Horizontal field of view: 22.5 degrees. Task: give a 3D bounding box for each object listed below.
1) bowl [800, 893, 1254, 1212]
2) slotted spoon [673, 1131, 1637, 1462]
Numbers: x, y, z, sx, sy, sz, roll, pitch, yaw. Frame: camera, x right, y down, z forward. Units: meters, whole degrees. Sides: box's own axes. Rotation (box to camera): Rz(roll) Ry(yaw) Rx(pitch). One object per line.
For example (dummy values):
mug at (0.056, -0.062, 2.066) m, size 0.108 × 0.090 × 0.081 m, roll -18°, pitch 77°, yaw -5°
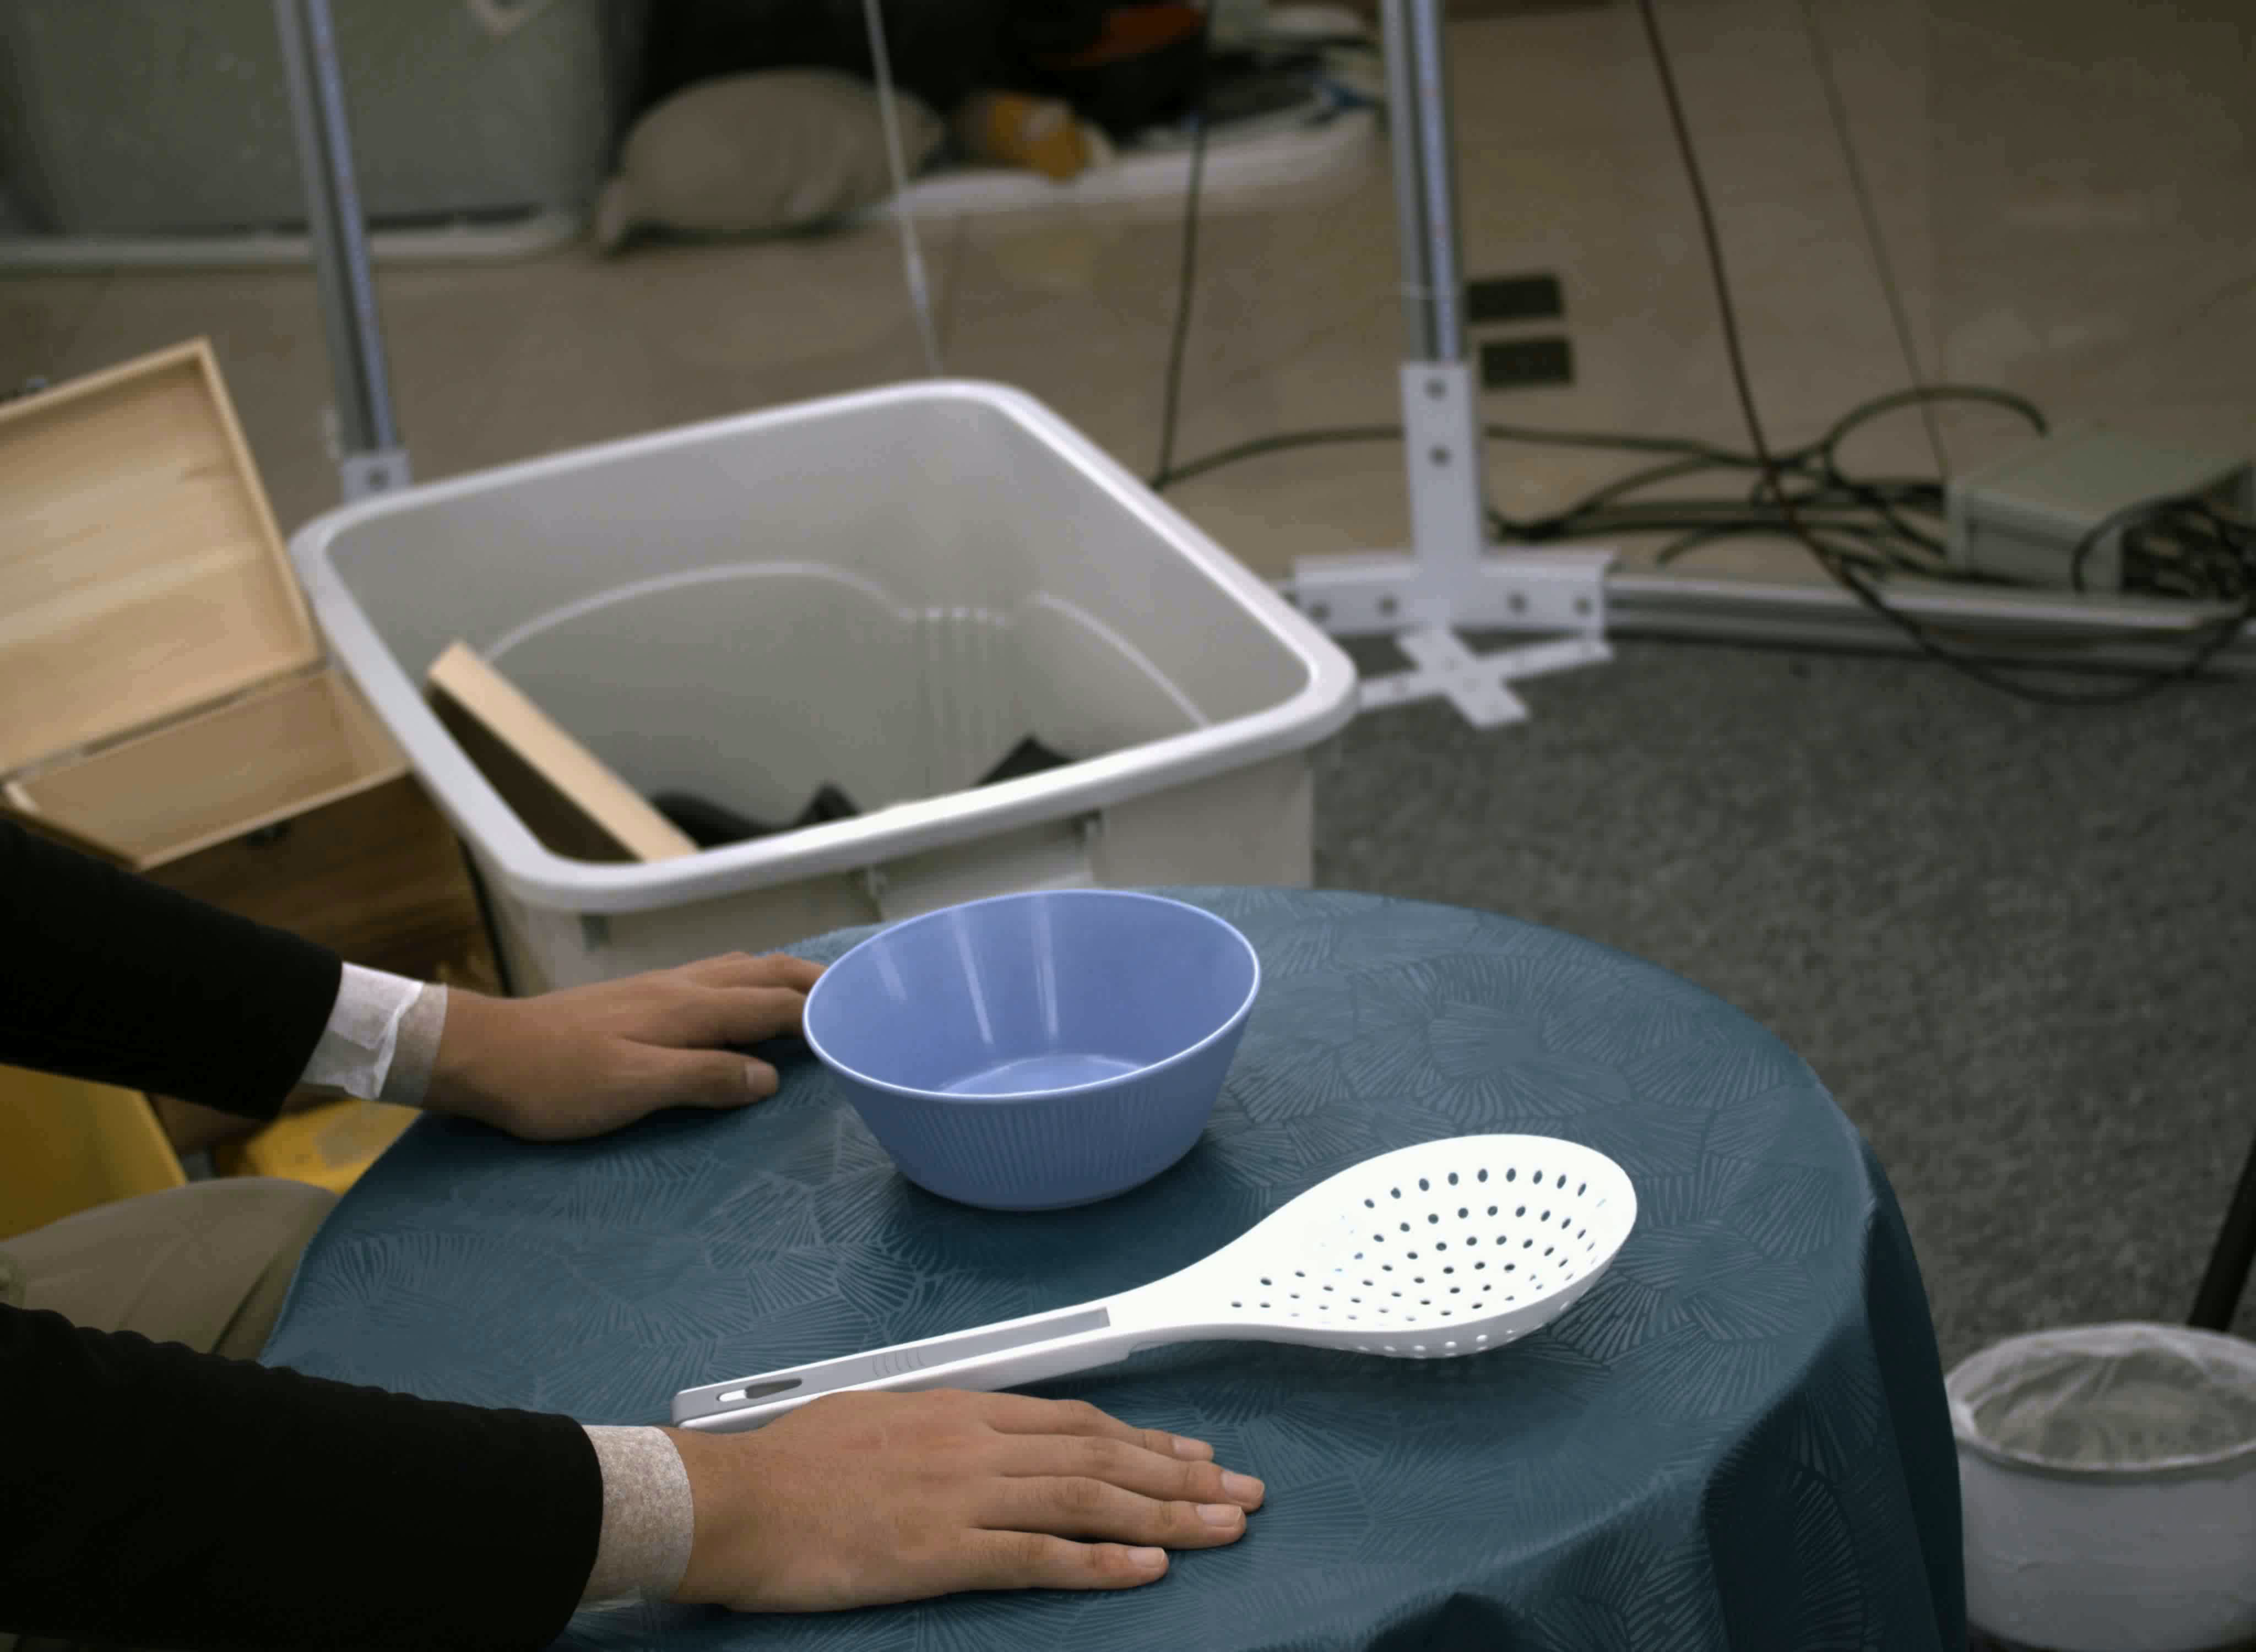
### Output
bowl at (-0.035, 0.092, 2.174) m, size 0.176 × 0.071 × 0.173 m, roll -6°, pitch 26°, yaw 3°
slotted spoon at (0.010, 0.175, 2.014) m, size 0.349 × 0.046 × 0.134 m, roll -9°, pitch 25°, yaw -3°
